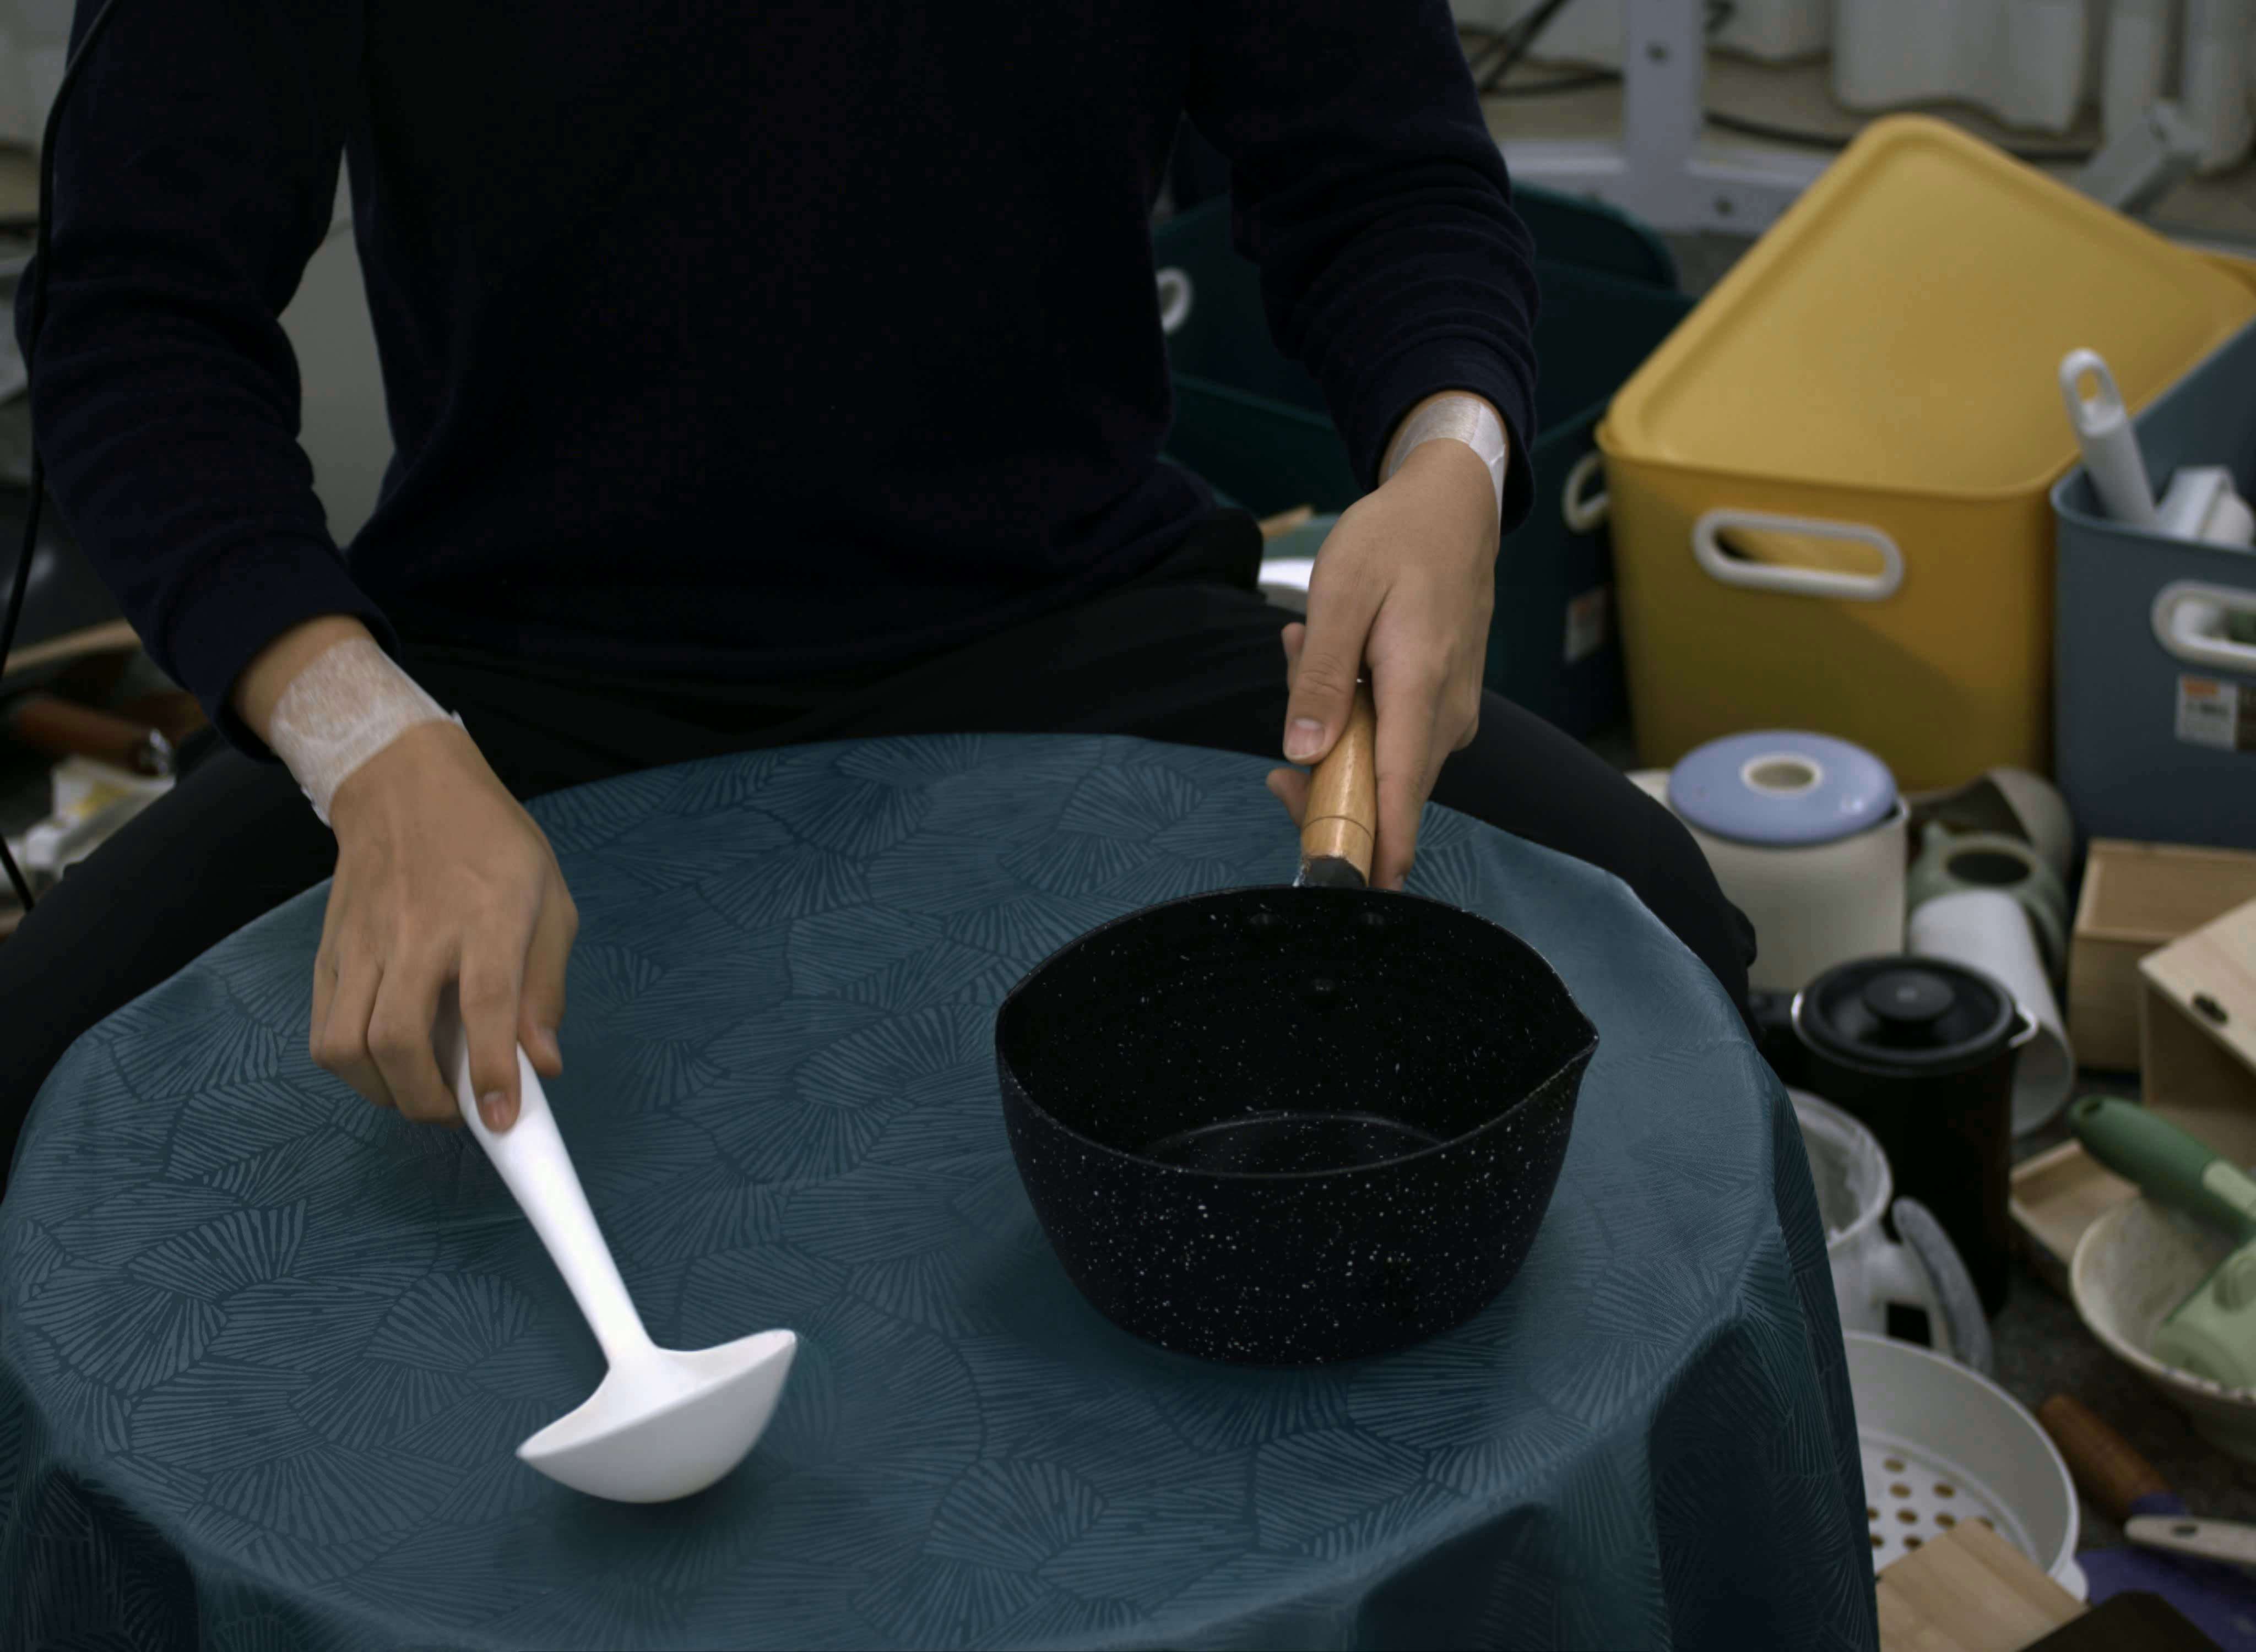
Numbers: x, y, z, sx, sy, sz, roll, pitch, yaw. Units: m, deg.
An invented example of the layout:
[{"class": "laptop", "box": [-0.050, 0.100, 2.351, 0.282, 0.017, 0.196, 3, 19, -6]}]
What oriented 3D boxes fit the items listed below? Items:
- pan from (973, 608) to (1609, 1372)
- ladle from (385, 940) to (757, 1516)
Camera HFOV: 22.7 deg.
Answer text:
[{"class": "pan", "box": [0.062, 0.051, 1.876, 0.206, 0.107, 0.349, 0, 29, 8]}, {"class": "ladle", "box": [-0.190, 0.118, 1.786, 0.090, 0.069, 0.296, -29, 41, -4]}]
